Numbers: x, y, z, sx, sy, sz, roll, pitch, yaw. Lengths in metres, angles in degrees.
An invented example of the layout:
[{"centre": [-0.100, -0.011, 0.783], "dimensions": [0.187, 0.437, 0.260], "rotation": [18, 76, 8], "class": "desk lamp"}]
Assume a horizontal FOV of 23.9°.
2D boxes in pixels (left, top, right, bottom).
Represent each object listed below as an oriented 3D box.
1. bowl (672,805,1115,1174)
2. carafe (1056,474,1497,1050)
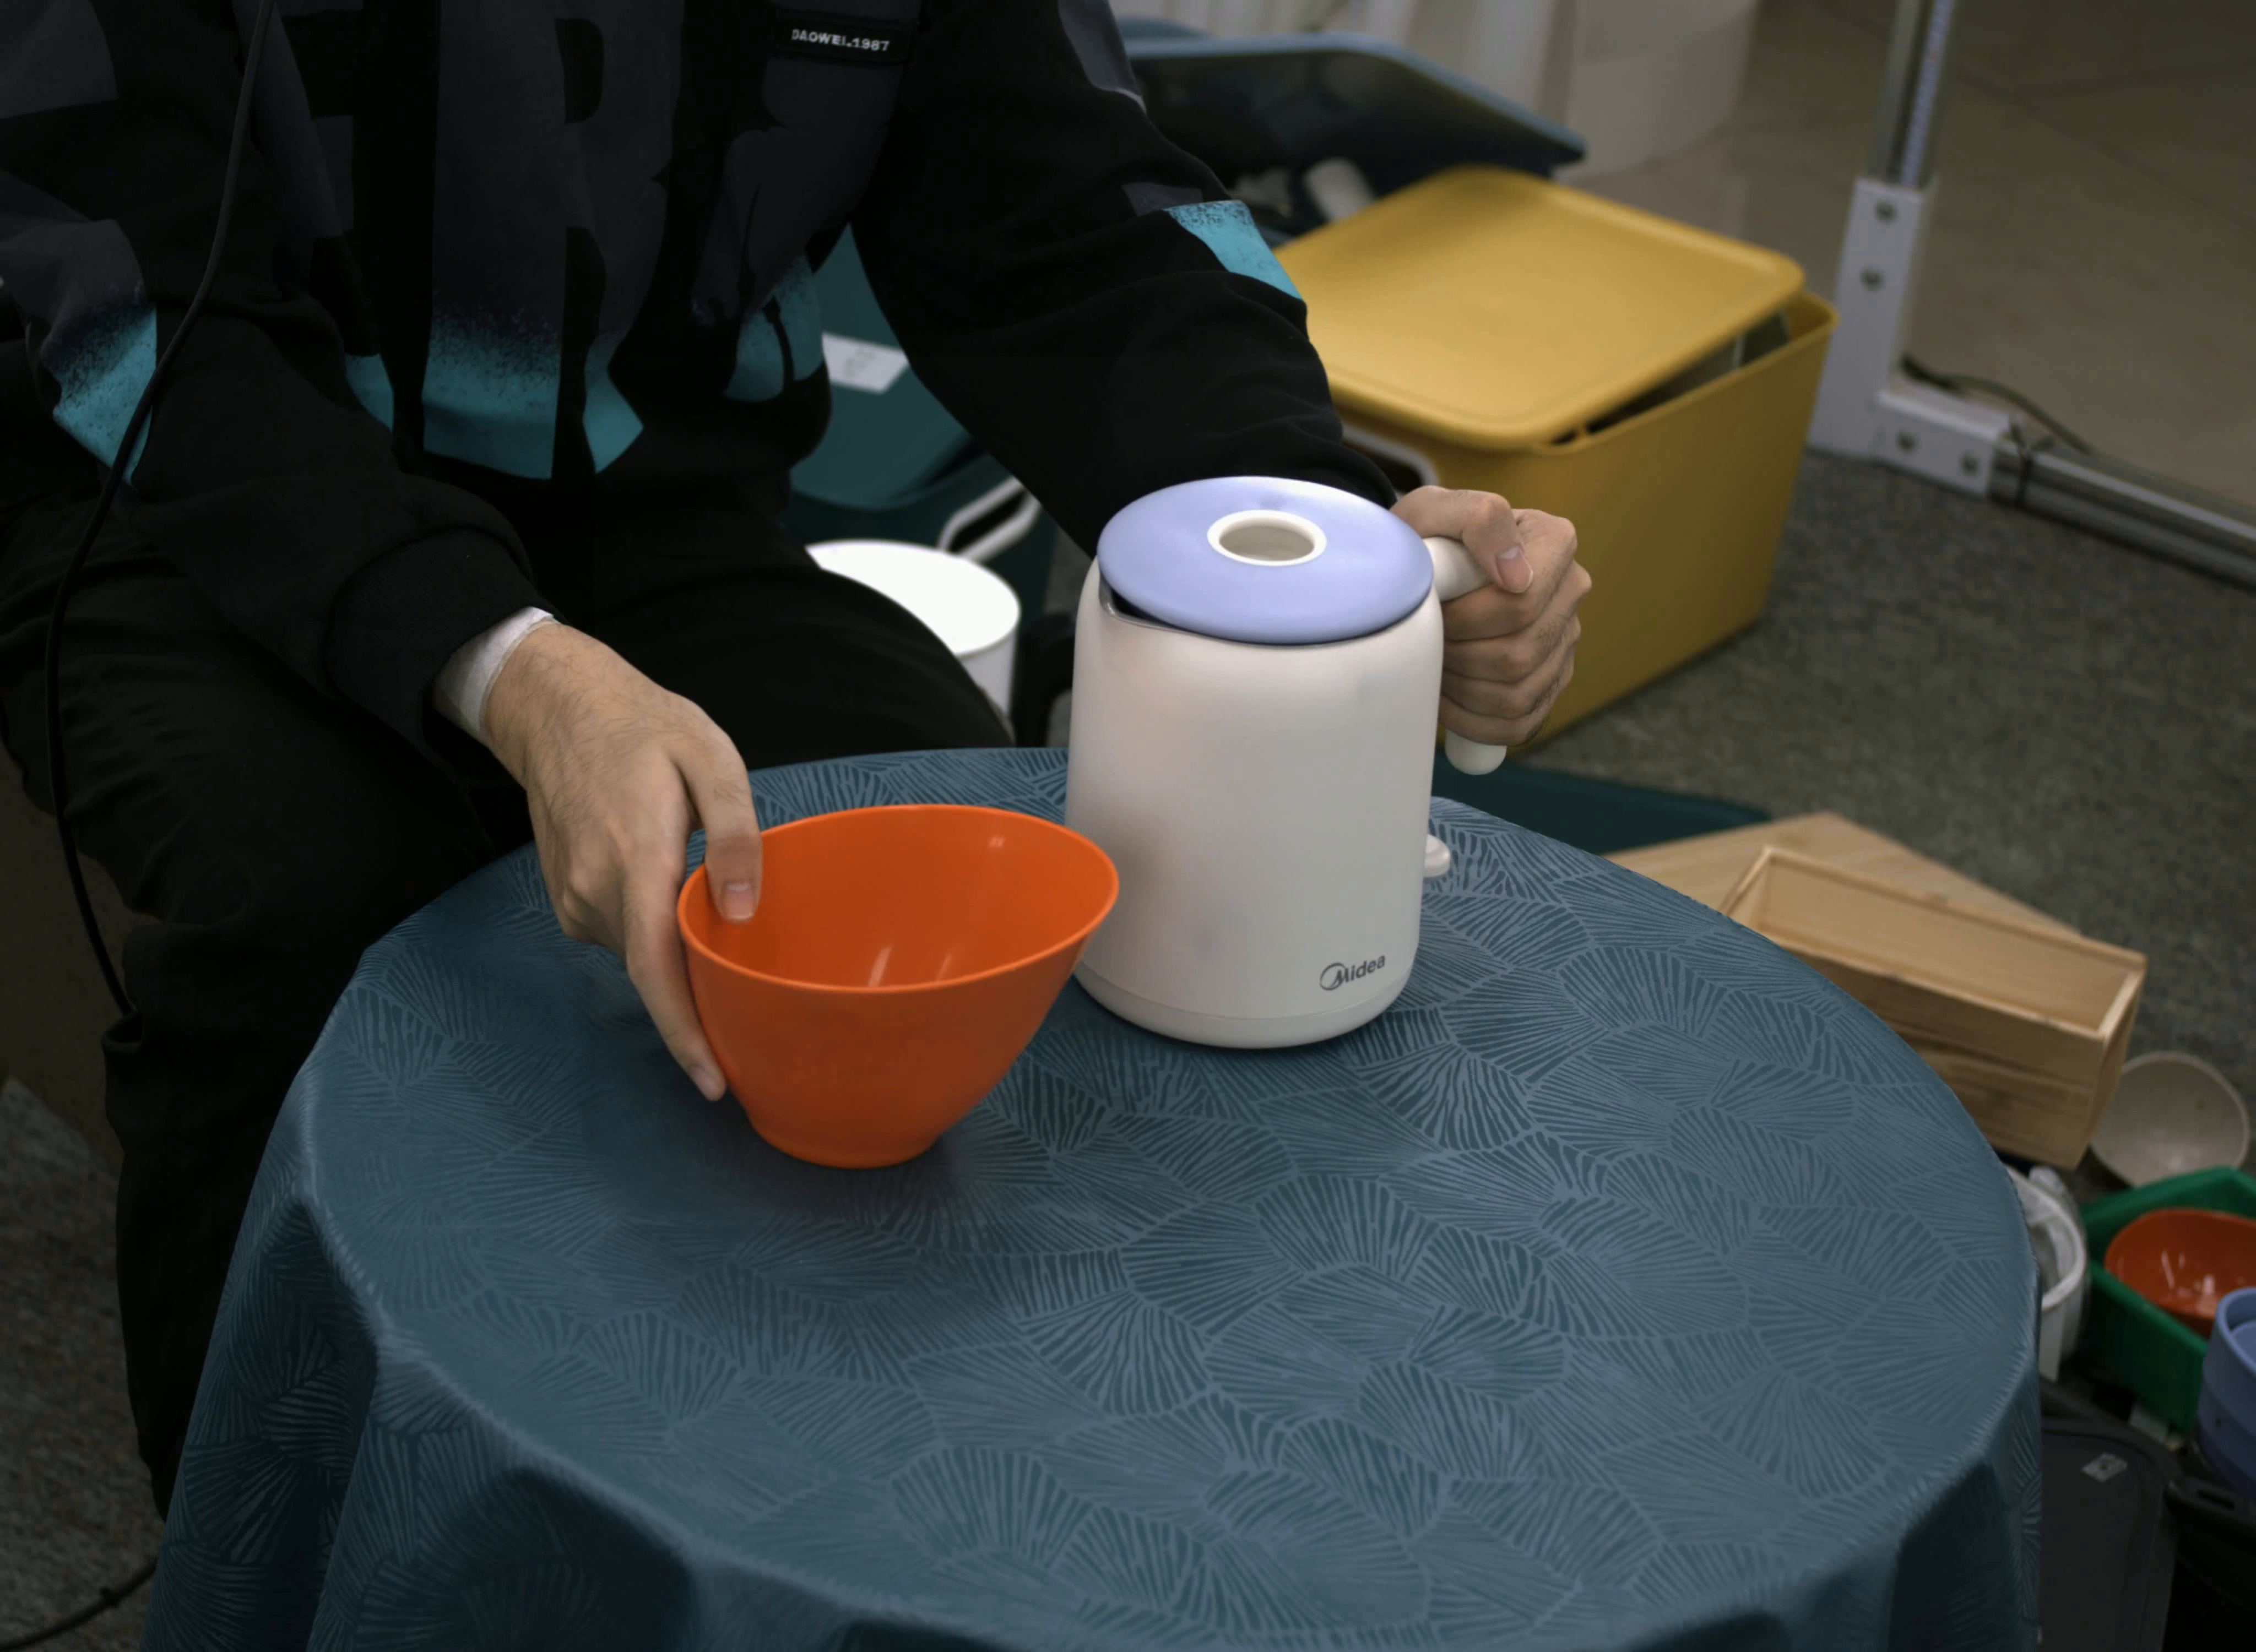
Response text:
[{"centre": [-0.084, 0.060, 1.795], "dimensions": [0.147, 0.104, 0.149], "rotation": [6, 27, -3], "class": "bowl"}, {"centre": [0.061, -0.029, 1.914], "dimensions": [0.190, 0.182, 0.133], "rotation": [-17, 36, -36], "class": "carafe"}]
